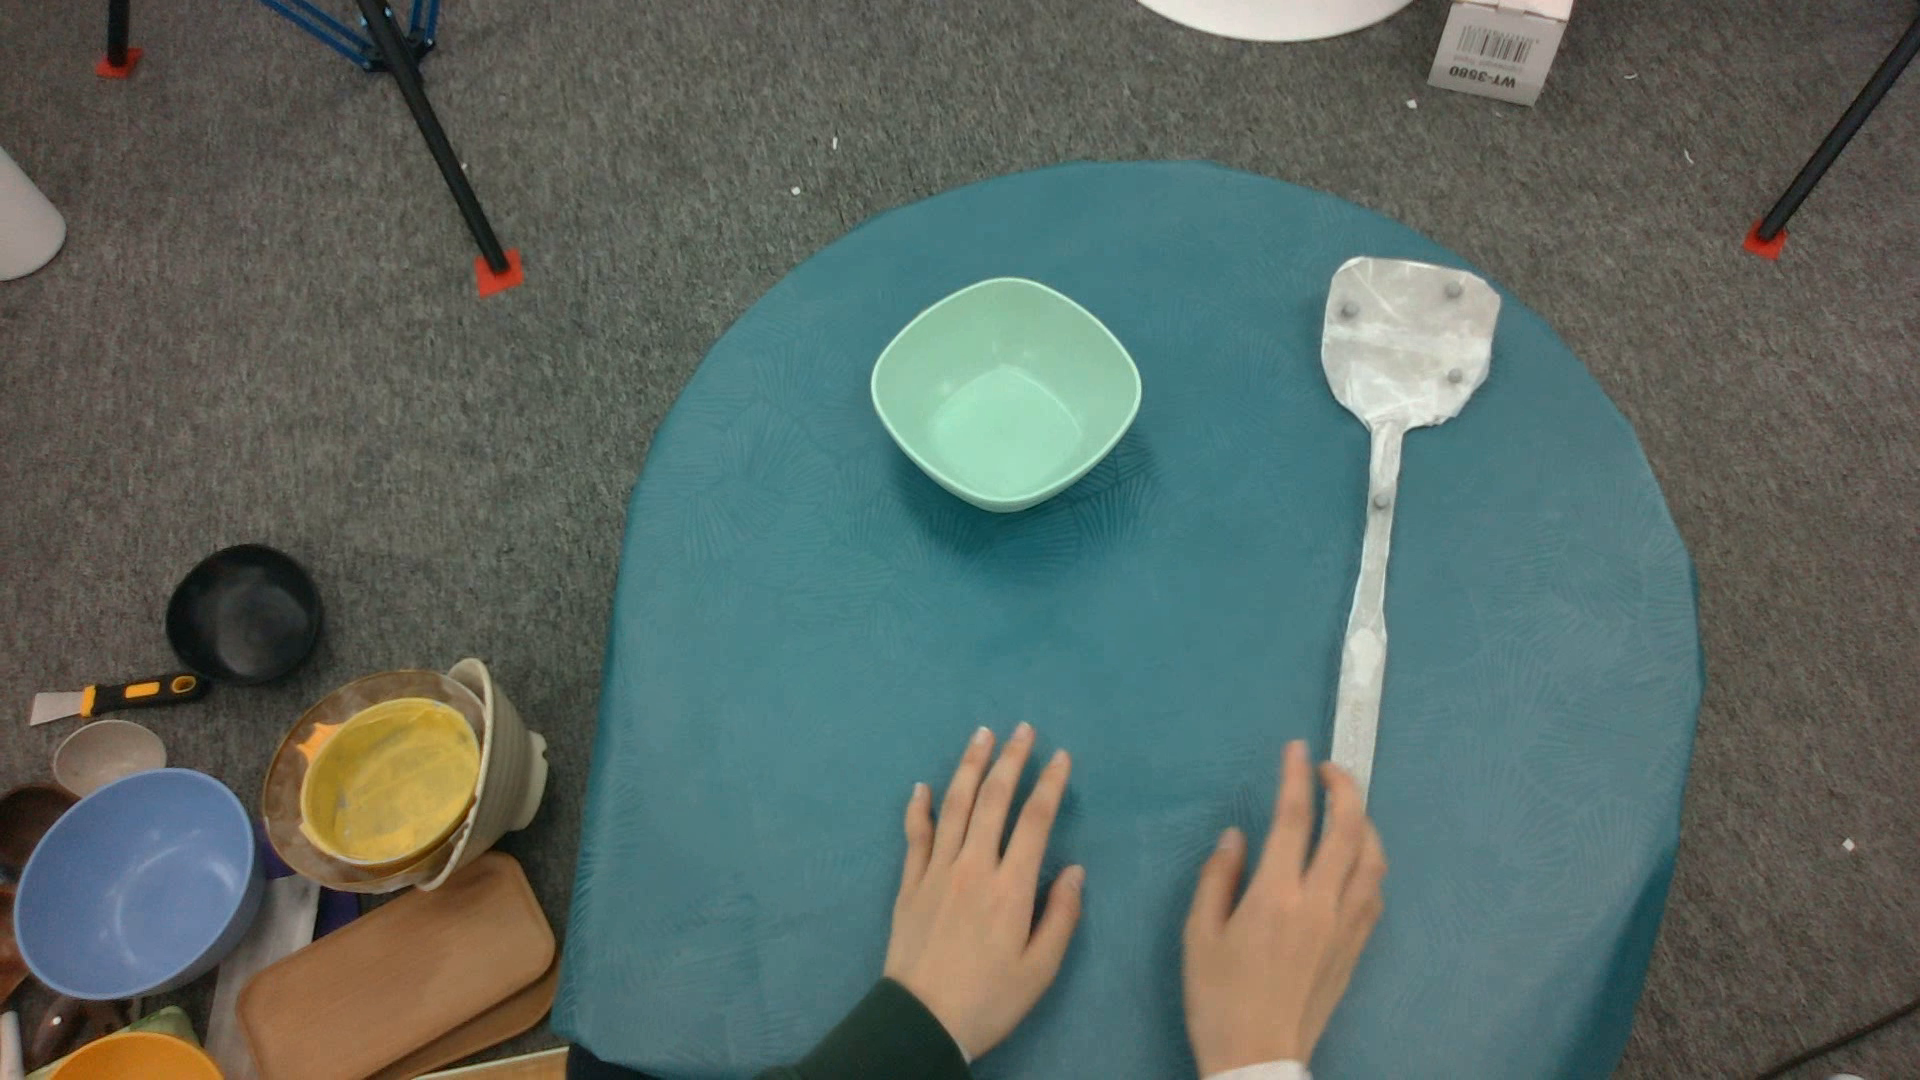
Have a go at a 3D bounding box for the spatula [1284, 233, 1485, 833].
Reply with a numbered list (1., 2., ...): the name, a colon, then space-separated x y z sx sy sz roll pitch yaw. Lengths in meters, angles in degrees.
1. spatula: 0.222 -0.015 0.760 0.098 0.044 0.366 14 63 6

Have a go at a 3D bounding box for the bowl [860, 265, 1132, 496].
1. bowl: 0.021 -0.082 0.788 0.151 0.058 0.152 -1 60 1
